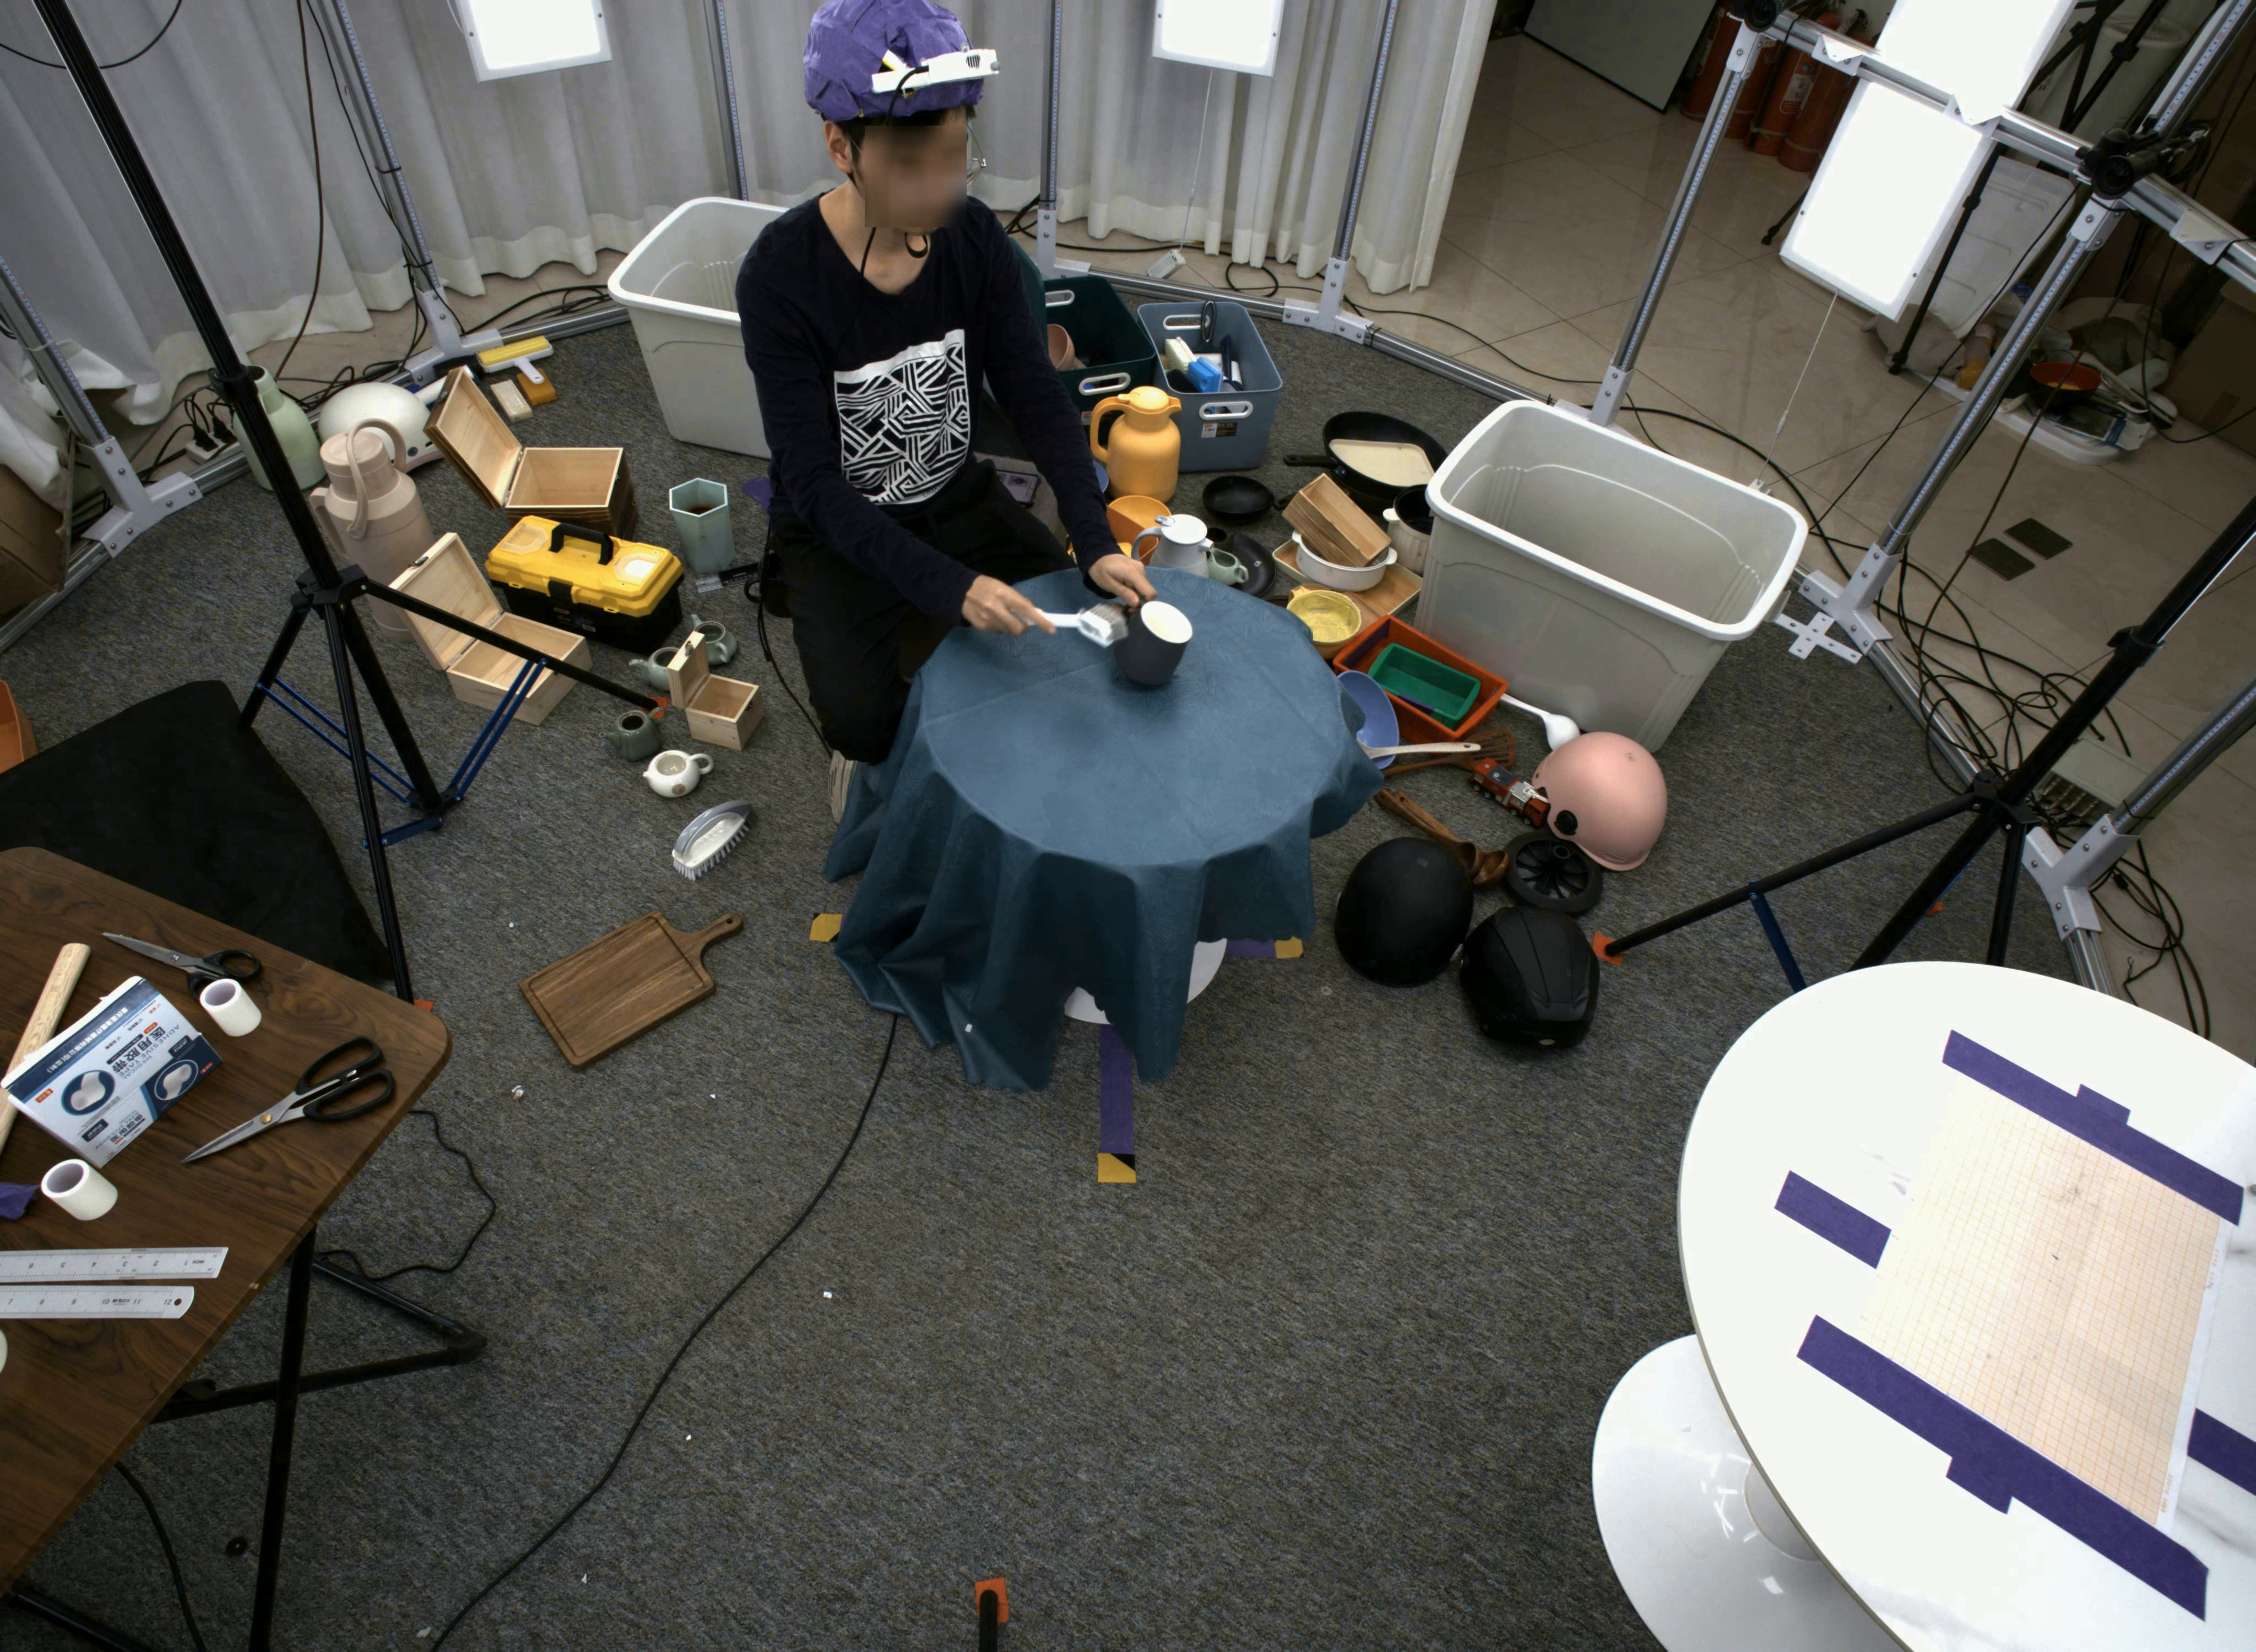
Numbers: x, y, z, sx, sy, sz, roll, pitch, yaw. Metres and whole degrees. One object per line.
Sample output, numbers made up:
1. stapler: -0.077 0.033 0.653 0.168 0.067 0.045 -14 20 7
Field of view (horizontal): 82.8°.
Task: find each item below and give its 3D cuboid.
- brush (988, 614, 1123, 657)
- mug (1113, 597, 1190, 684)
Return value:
1. brush: -0.102 -0.281 1.797 0.246 0.033 0.051 20 60 41
2. mug: 0.028 -0.271 1.831 0.093 0.088 0.126 -7 57 -35
